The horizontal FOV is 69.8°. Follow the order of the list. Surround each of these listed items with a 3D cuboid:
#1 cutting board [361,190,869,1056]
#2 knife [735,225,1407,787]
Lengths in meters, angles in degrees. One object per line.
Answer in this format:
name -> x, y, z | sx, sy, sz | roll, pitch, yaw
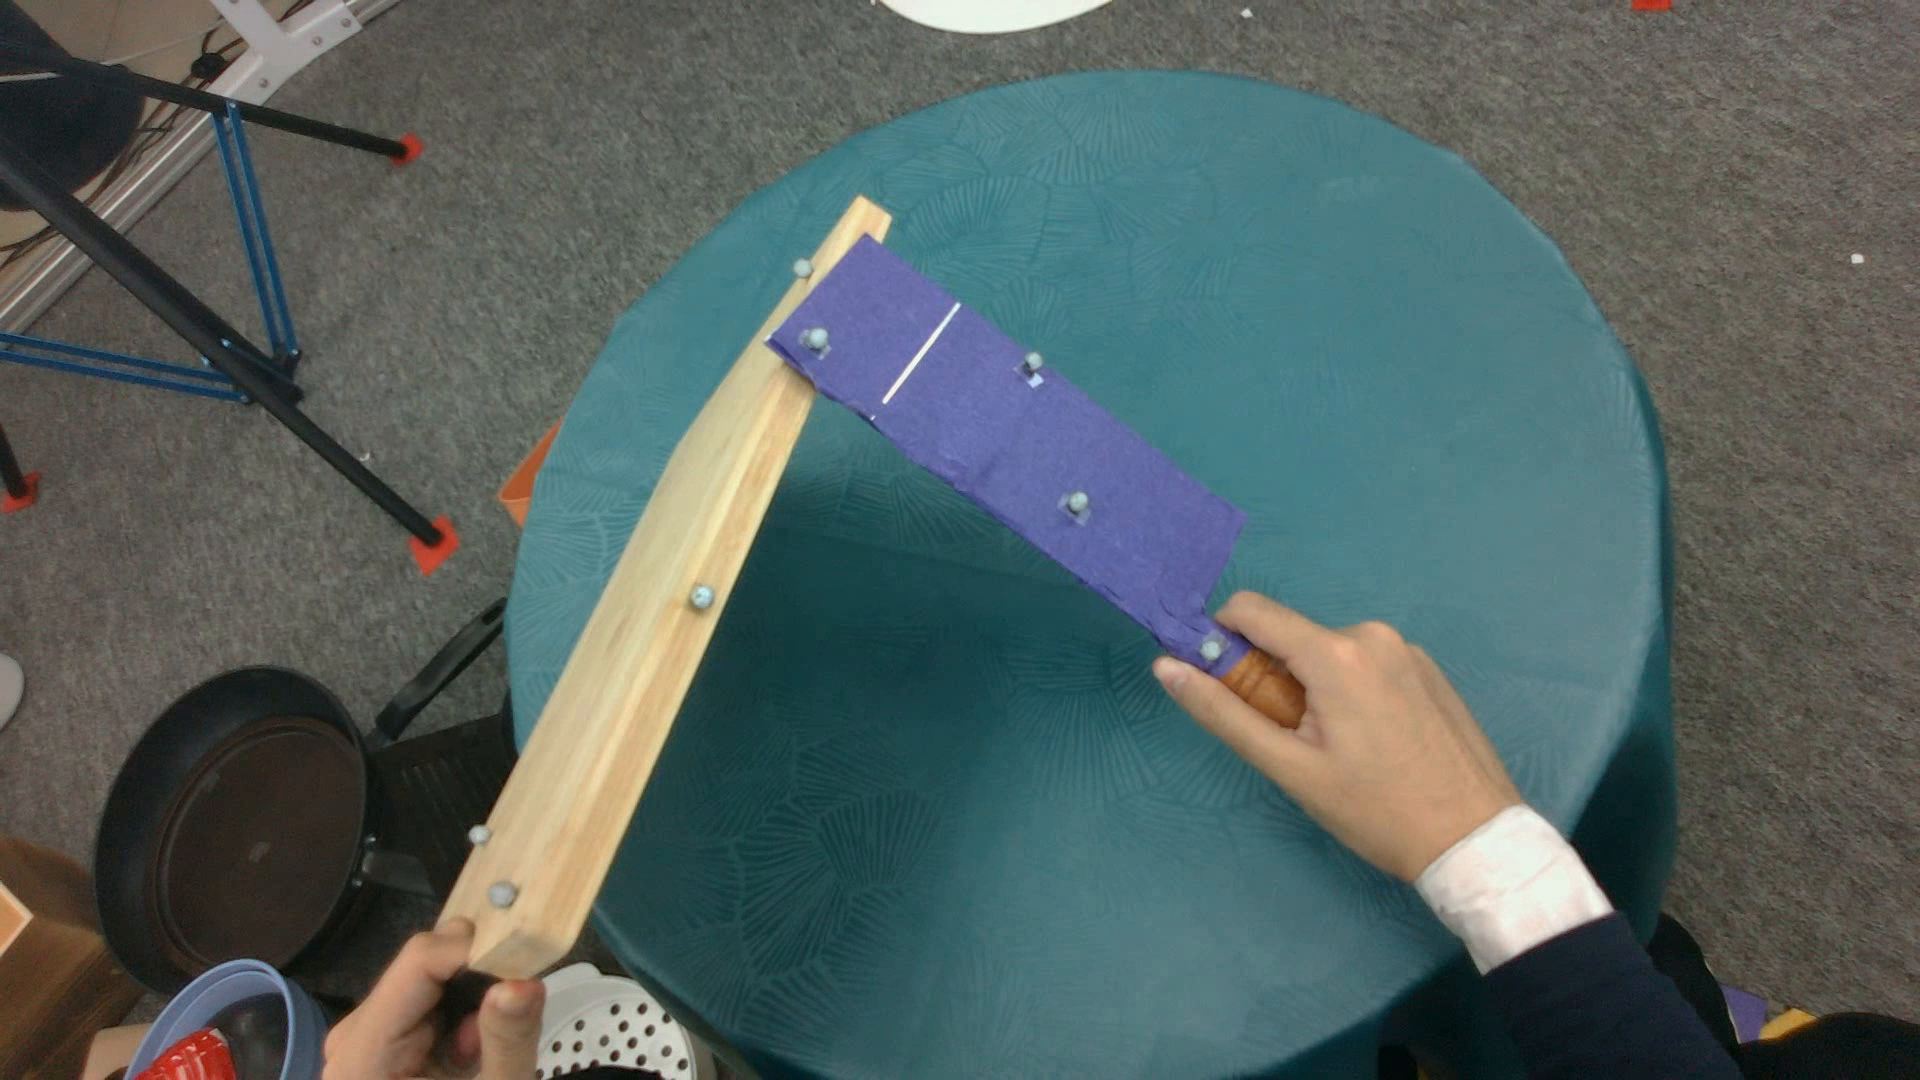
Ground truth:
cutting board -> -0.144, 0.032, 0.591 | 0.023, 0.249, 0.350 | 29, 52, -17
knife -> 0.060, -0.022, 0.565 | 0.315, 0.032, 0.104 | 37, 49, -5
